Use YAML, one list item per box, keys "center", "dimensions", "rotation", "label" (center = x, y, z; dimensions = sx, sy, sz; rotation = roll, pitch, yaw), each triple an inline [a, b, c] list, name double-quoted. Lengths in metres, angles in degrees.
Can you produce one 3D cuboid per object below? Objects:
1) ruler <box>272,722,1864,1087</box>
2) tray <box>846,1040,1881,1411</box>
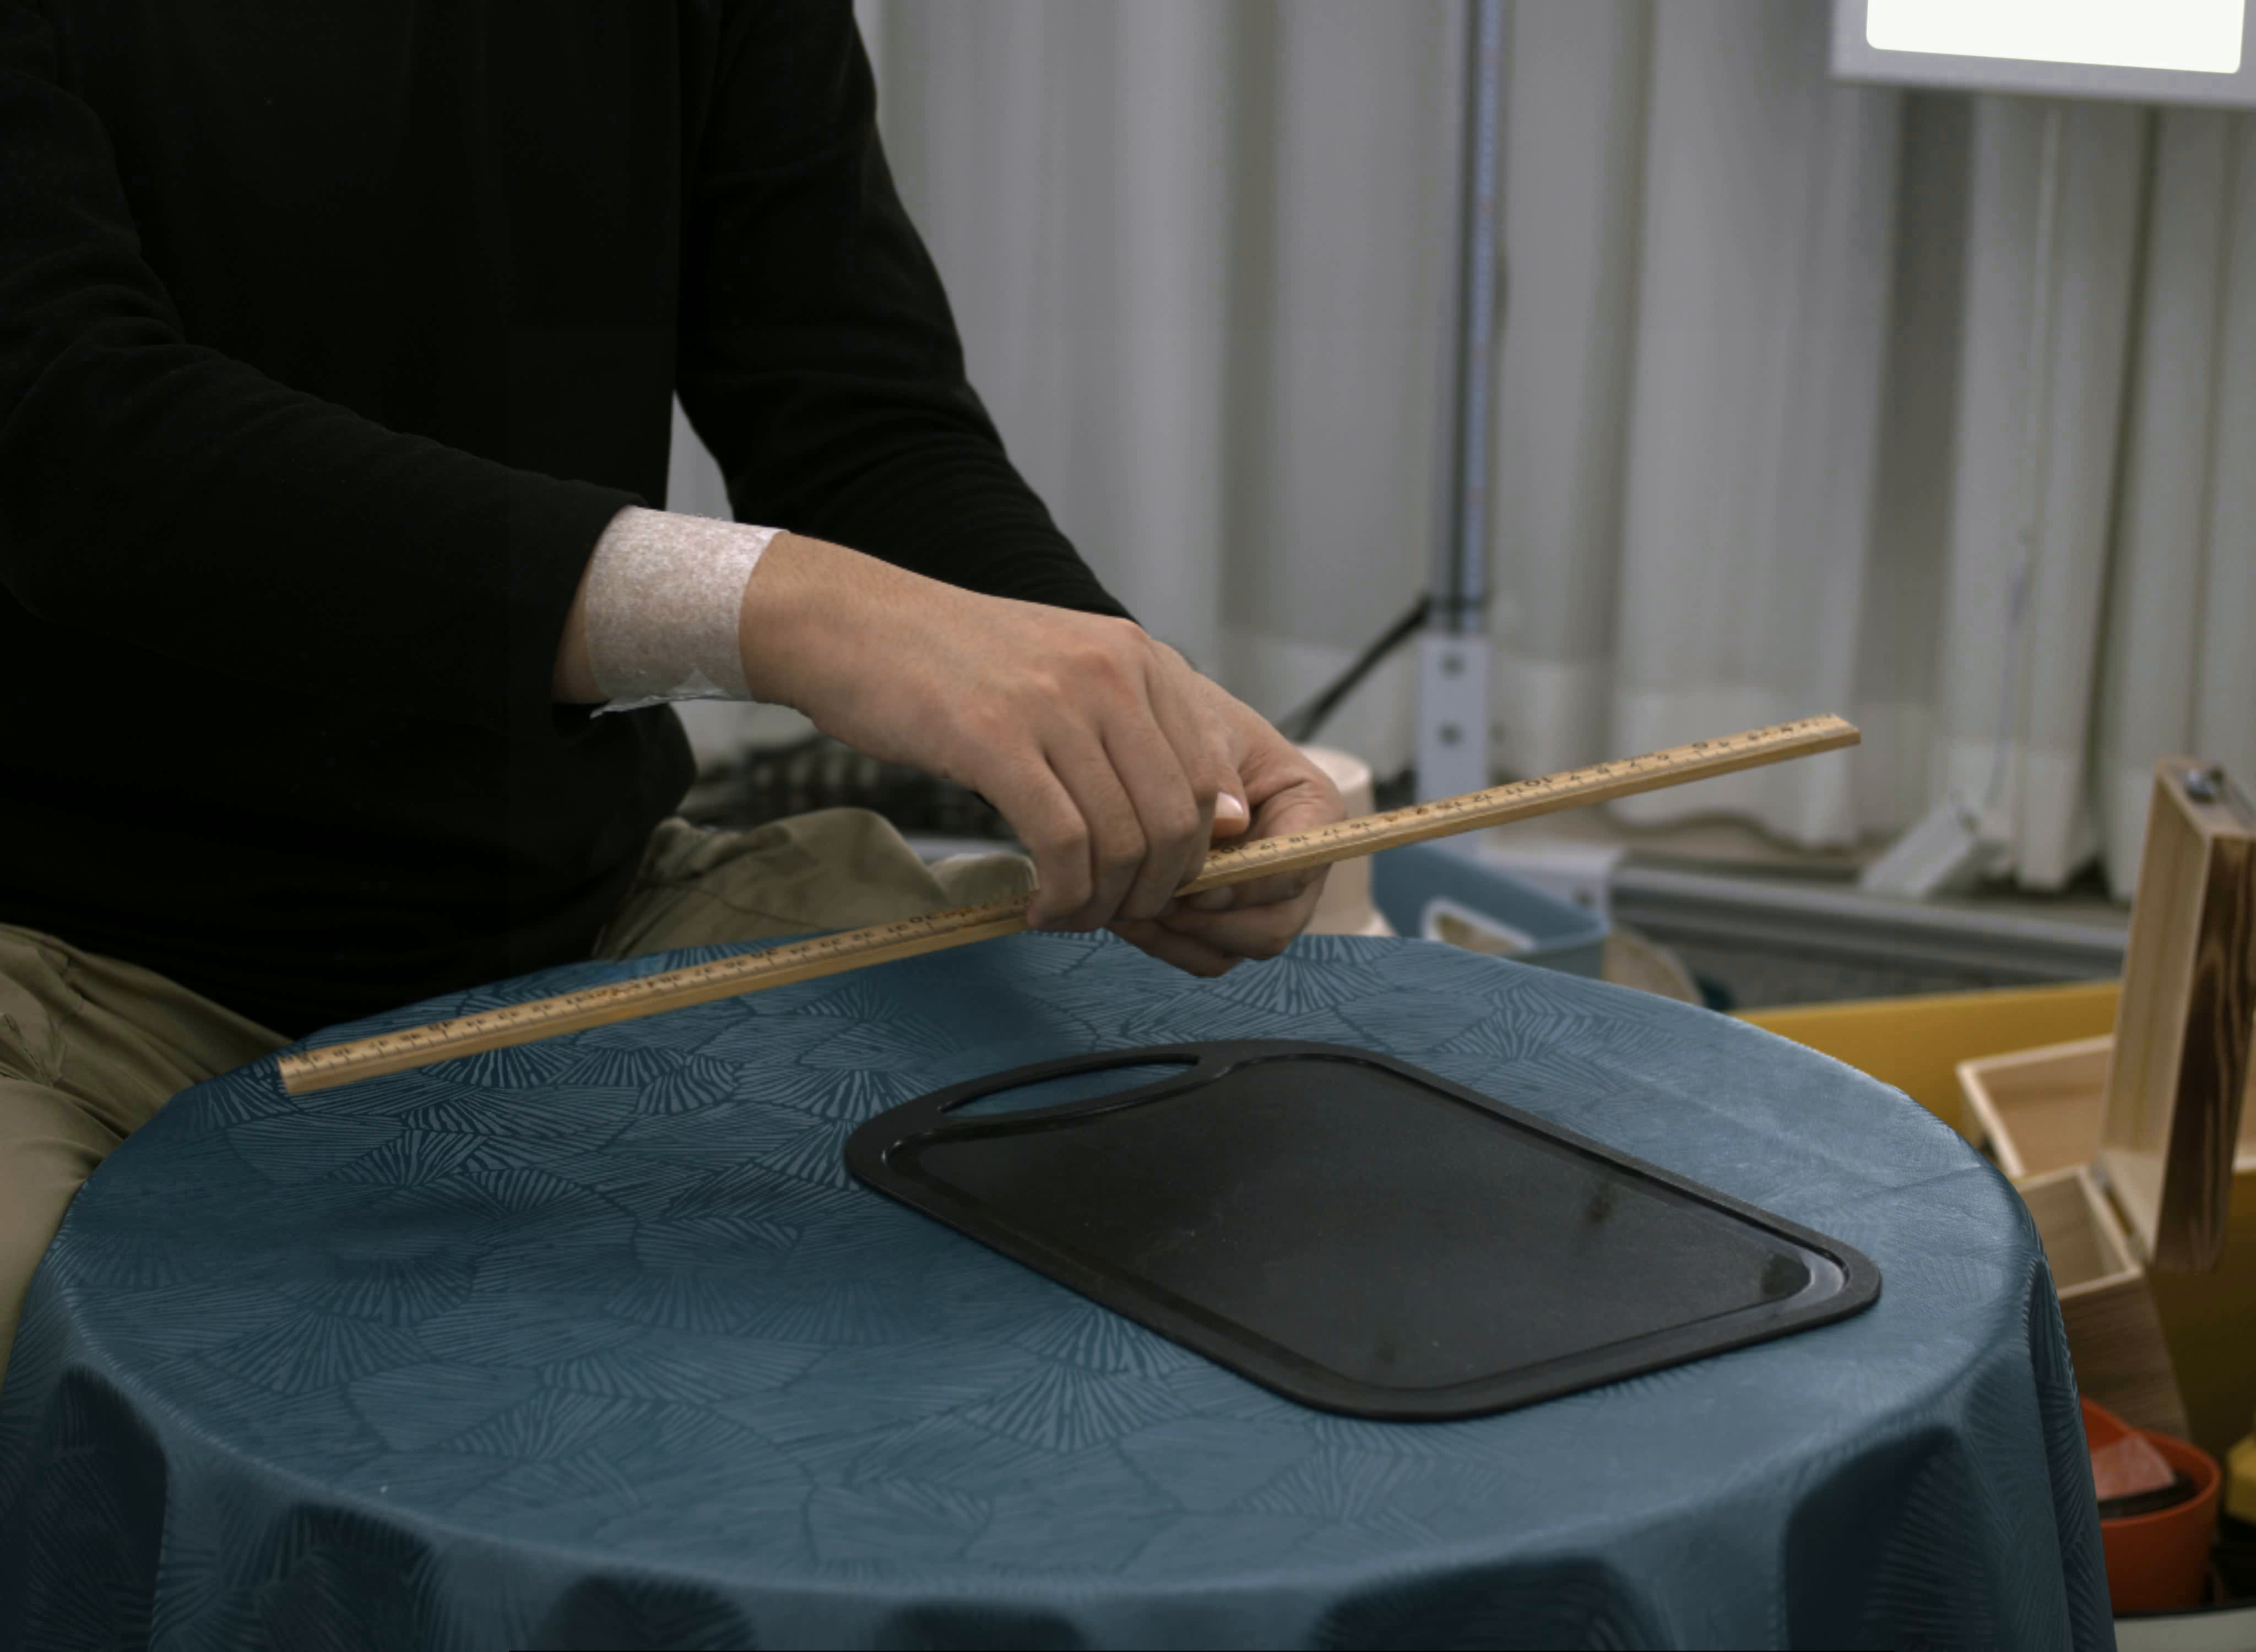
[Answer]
- center: [-0.013, 0.021, 1.604]
  dimensions: [0.500, 0.006, 0.026]
  rotation: [-12, 15, -11]
  label: "ruler"
- center: [0.061, 0.114, 1.604]
  dimensions: [0.212, 0.010, 0.321]
  rotation: [-10, 19, -34]
  label: "tray"
